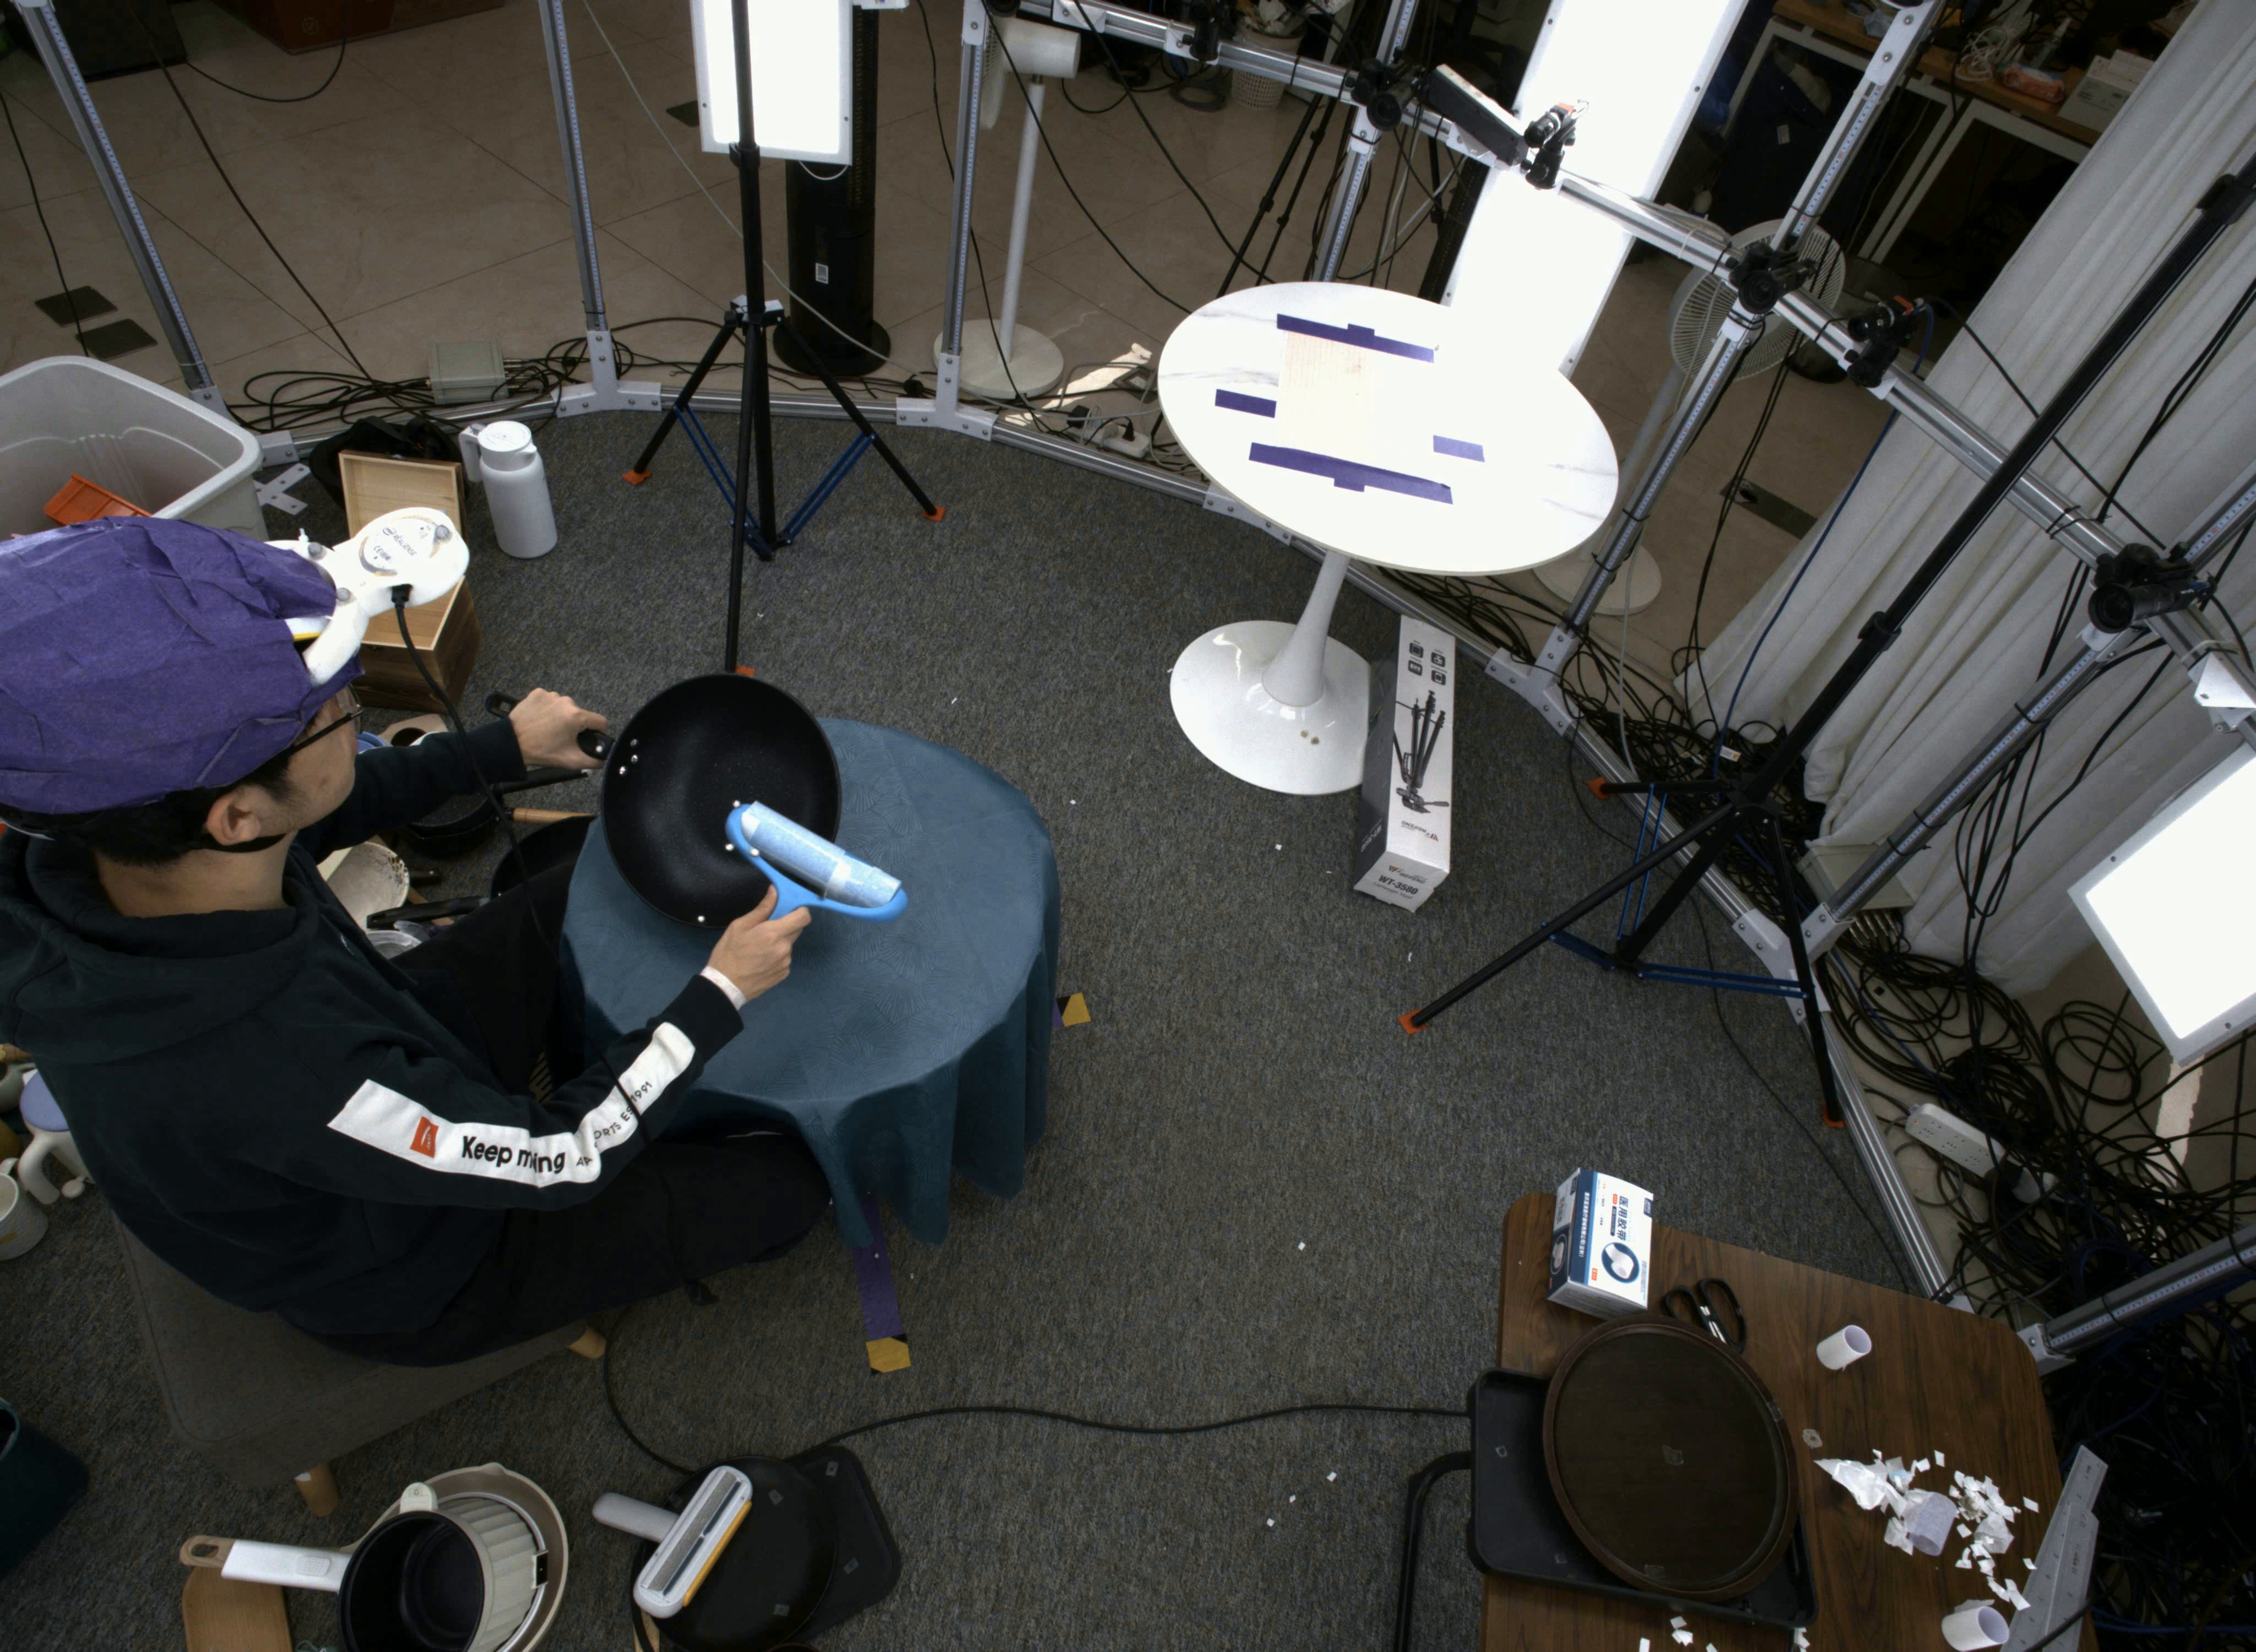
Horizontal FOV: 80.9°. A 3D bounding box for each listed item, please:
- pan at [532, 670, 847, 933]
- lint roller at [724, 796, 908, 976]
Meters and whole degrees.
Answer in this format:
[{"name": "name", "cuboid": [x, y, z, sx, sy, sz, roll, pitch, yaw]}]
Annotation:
[{"name": "pan", "cuboid": [-0.555, -0.061, 1.580, 0.470, 0.112, 0.313, 23, 90, 6]}, {"name": "lint roller", "cuboid": [-0.380, 0.082, 1.477, 0.230, 0.068, 0.179, 27, 66, -10]}]
